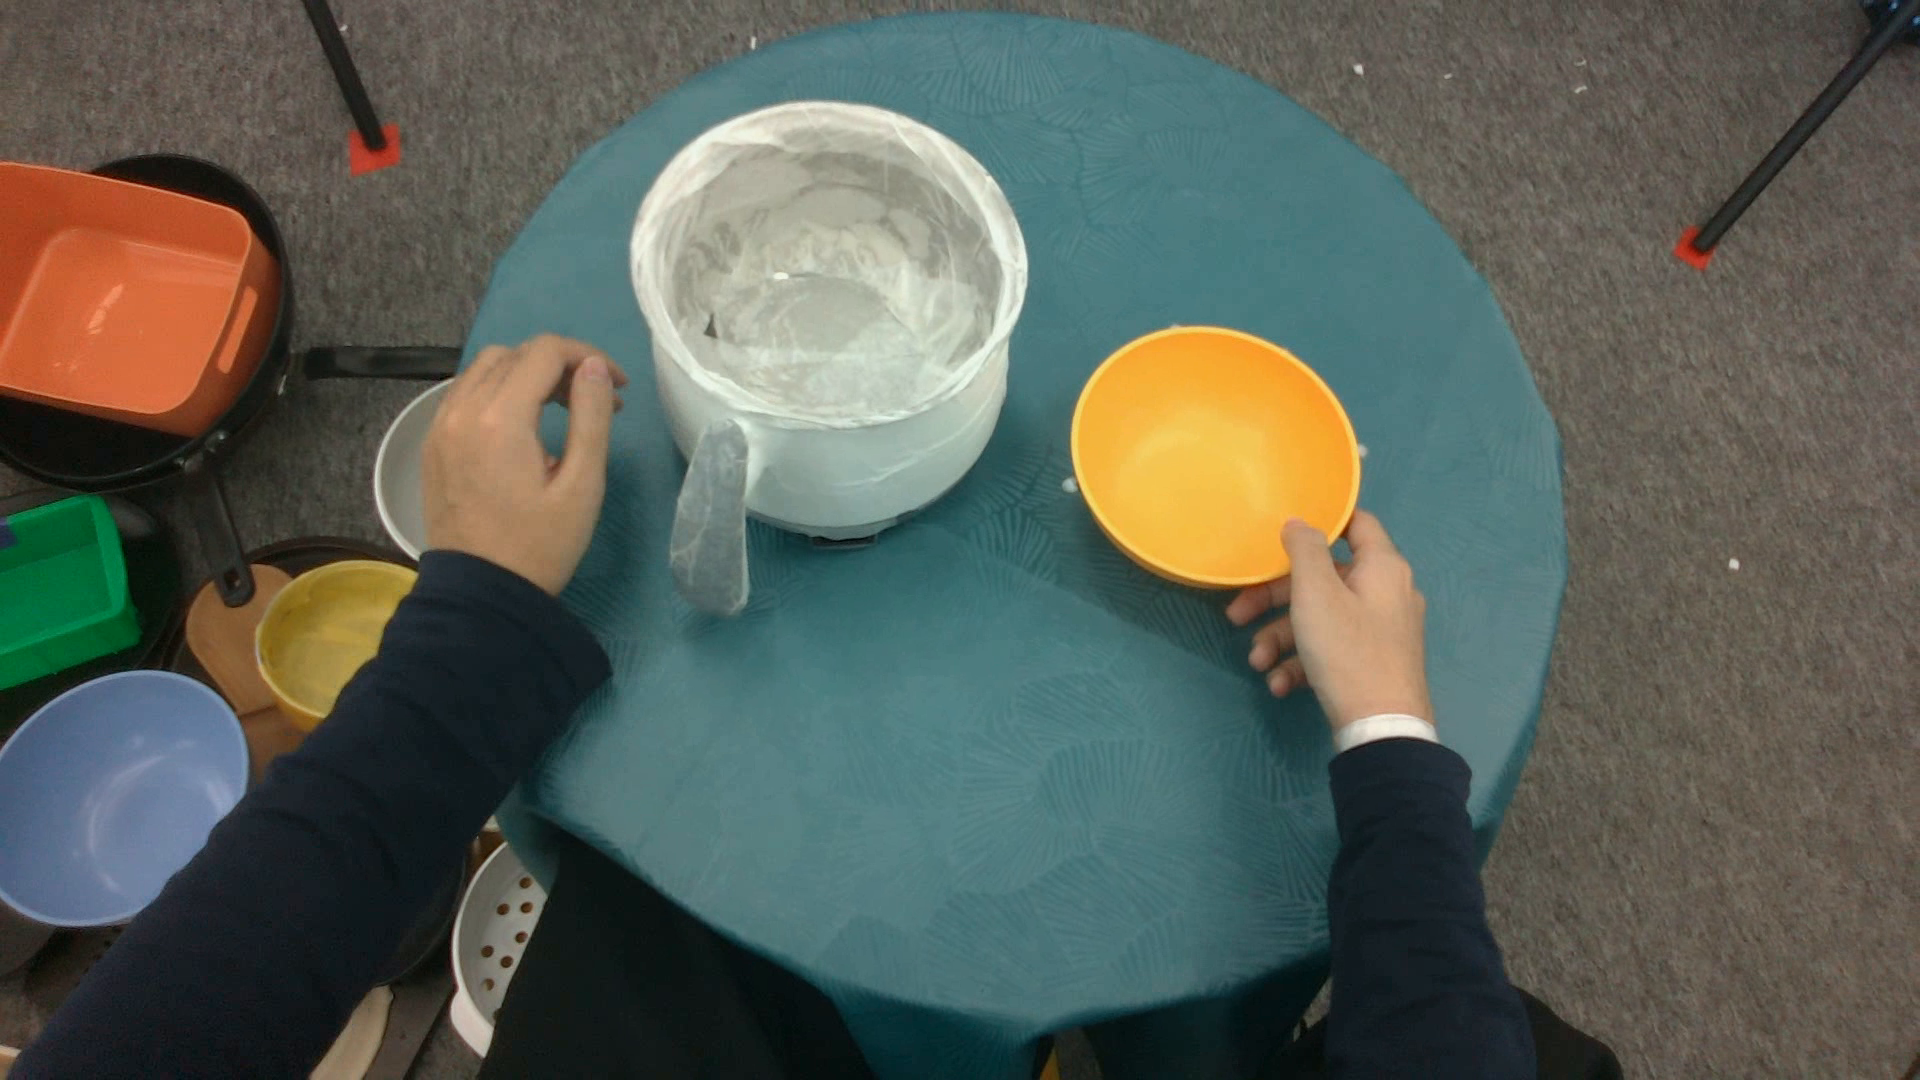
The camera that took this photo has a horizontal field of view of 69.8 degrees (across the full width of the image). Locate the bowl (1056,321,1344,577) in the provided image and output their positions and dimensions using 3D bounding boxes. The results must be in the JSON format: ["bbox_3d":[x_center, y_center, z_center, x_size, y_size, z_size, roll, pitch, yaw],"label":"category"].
[{"bbox_3d":[0.118,-0.038,0.710,0.145,0.060,0.146,2,64,-4],"label":"bowl"}]

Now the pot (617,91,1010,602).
[{"bbox_3d":[-0.080,-0.086,0.666,0.178,0.136,0.234,22,64,6],"label":"pot"}]
